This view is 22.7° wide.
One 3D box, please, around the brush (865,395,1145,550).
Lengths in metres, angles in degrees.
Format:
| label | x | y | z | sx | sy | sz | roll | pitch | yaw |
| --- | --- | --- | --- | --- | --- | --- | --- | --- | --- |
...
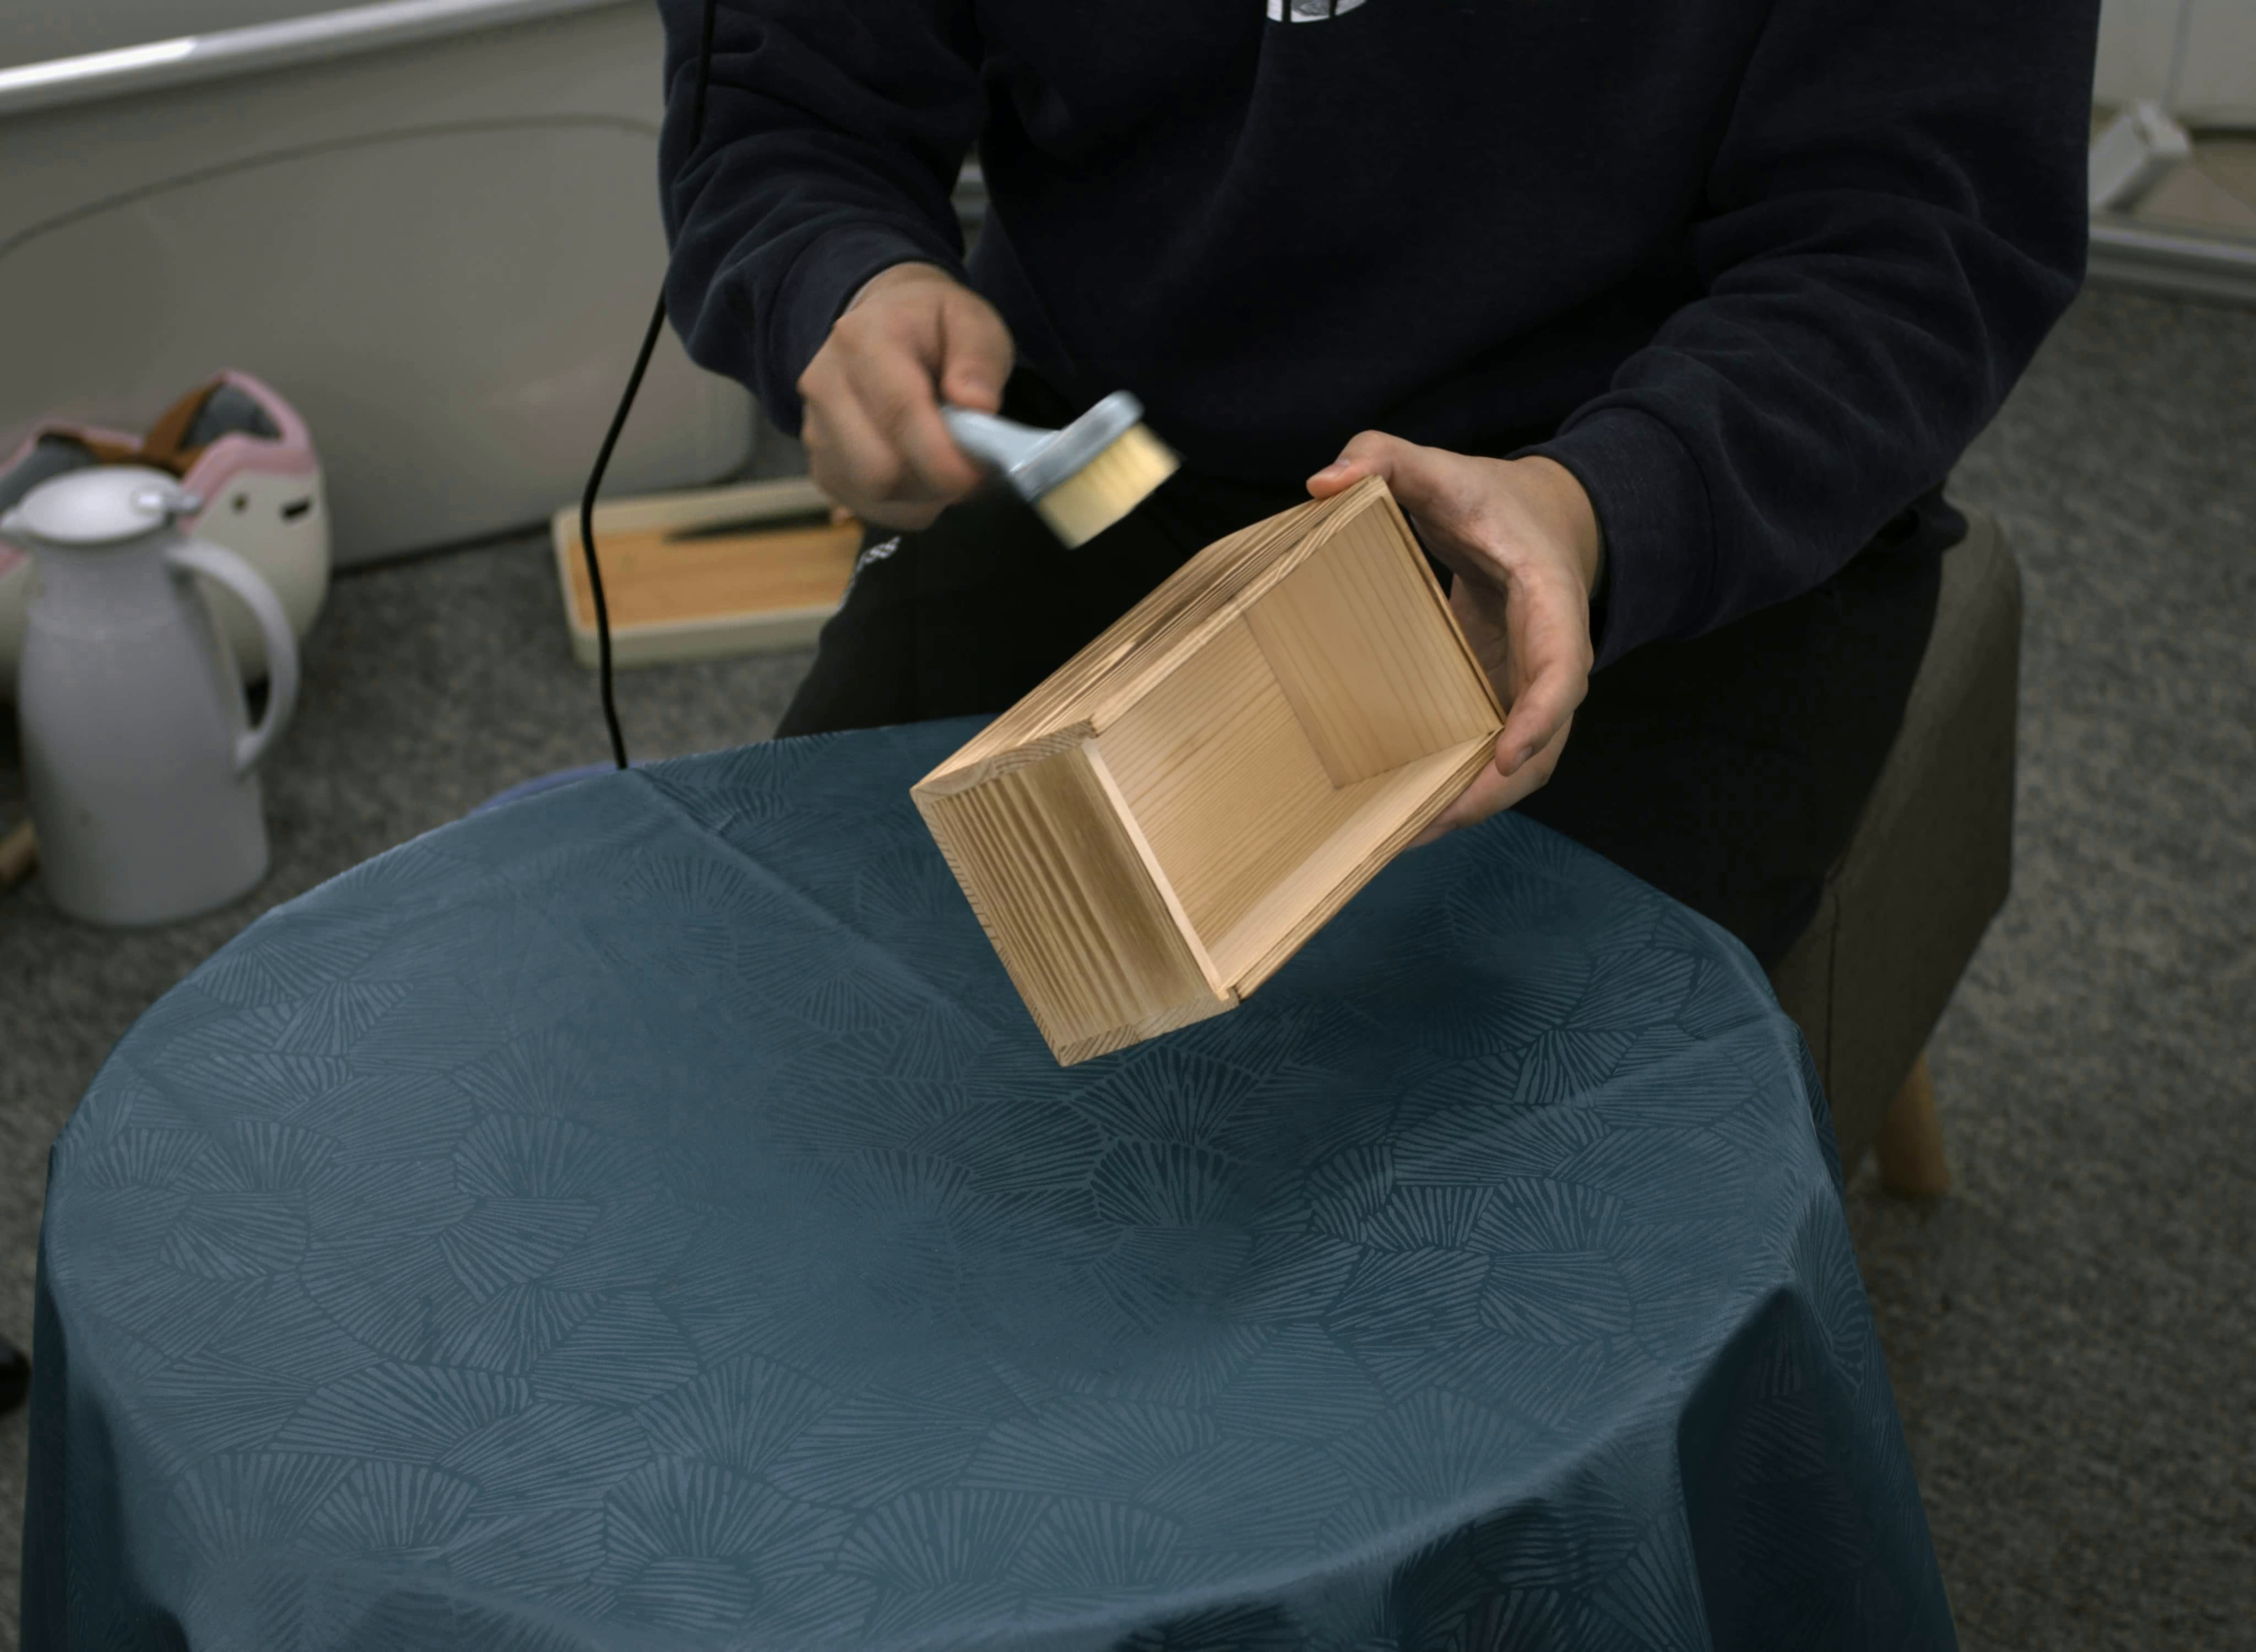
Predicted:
| label | x | y | z | sx | sy | sz | roll | pitch | yaw |
| --- | --- | --- | --- | --- | --- | --- | --- | --- | --- |
| brush | -0.047 | -0.123 | 1.972 | 0.038 | 0.049 | 0.228 | -43 | 17 | -14 |

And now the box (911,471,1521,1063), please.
| label | x | y | z | sx | sy | sz | roll | pitch | yaw |
| --- | --- | --- | --- | --- | --- | --- | --- | --- | --- |
| box | 0.033 | -0.022 | 1.878 | 0.079 | 0.107 | 0.215 | -21 | 13 | 37 |
